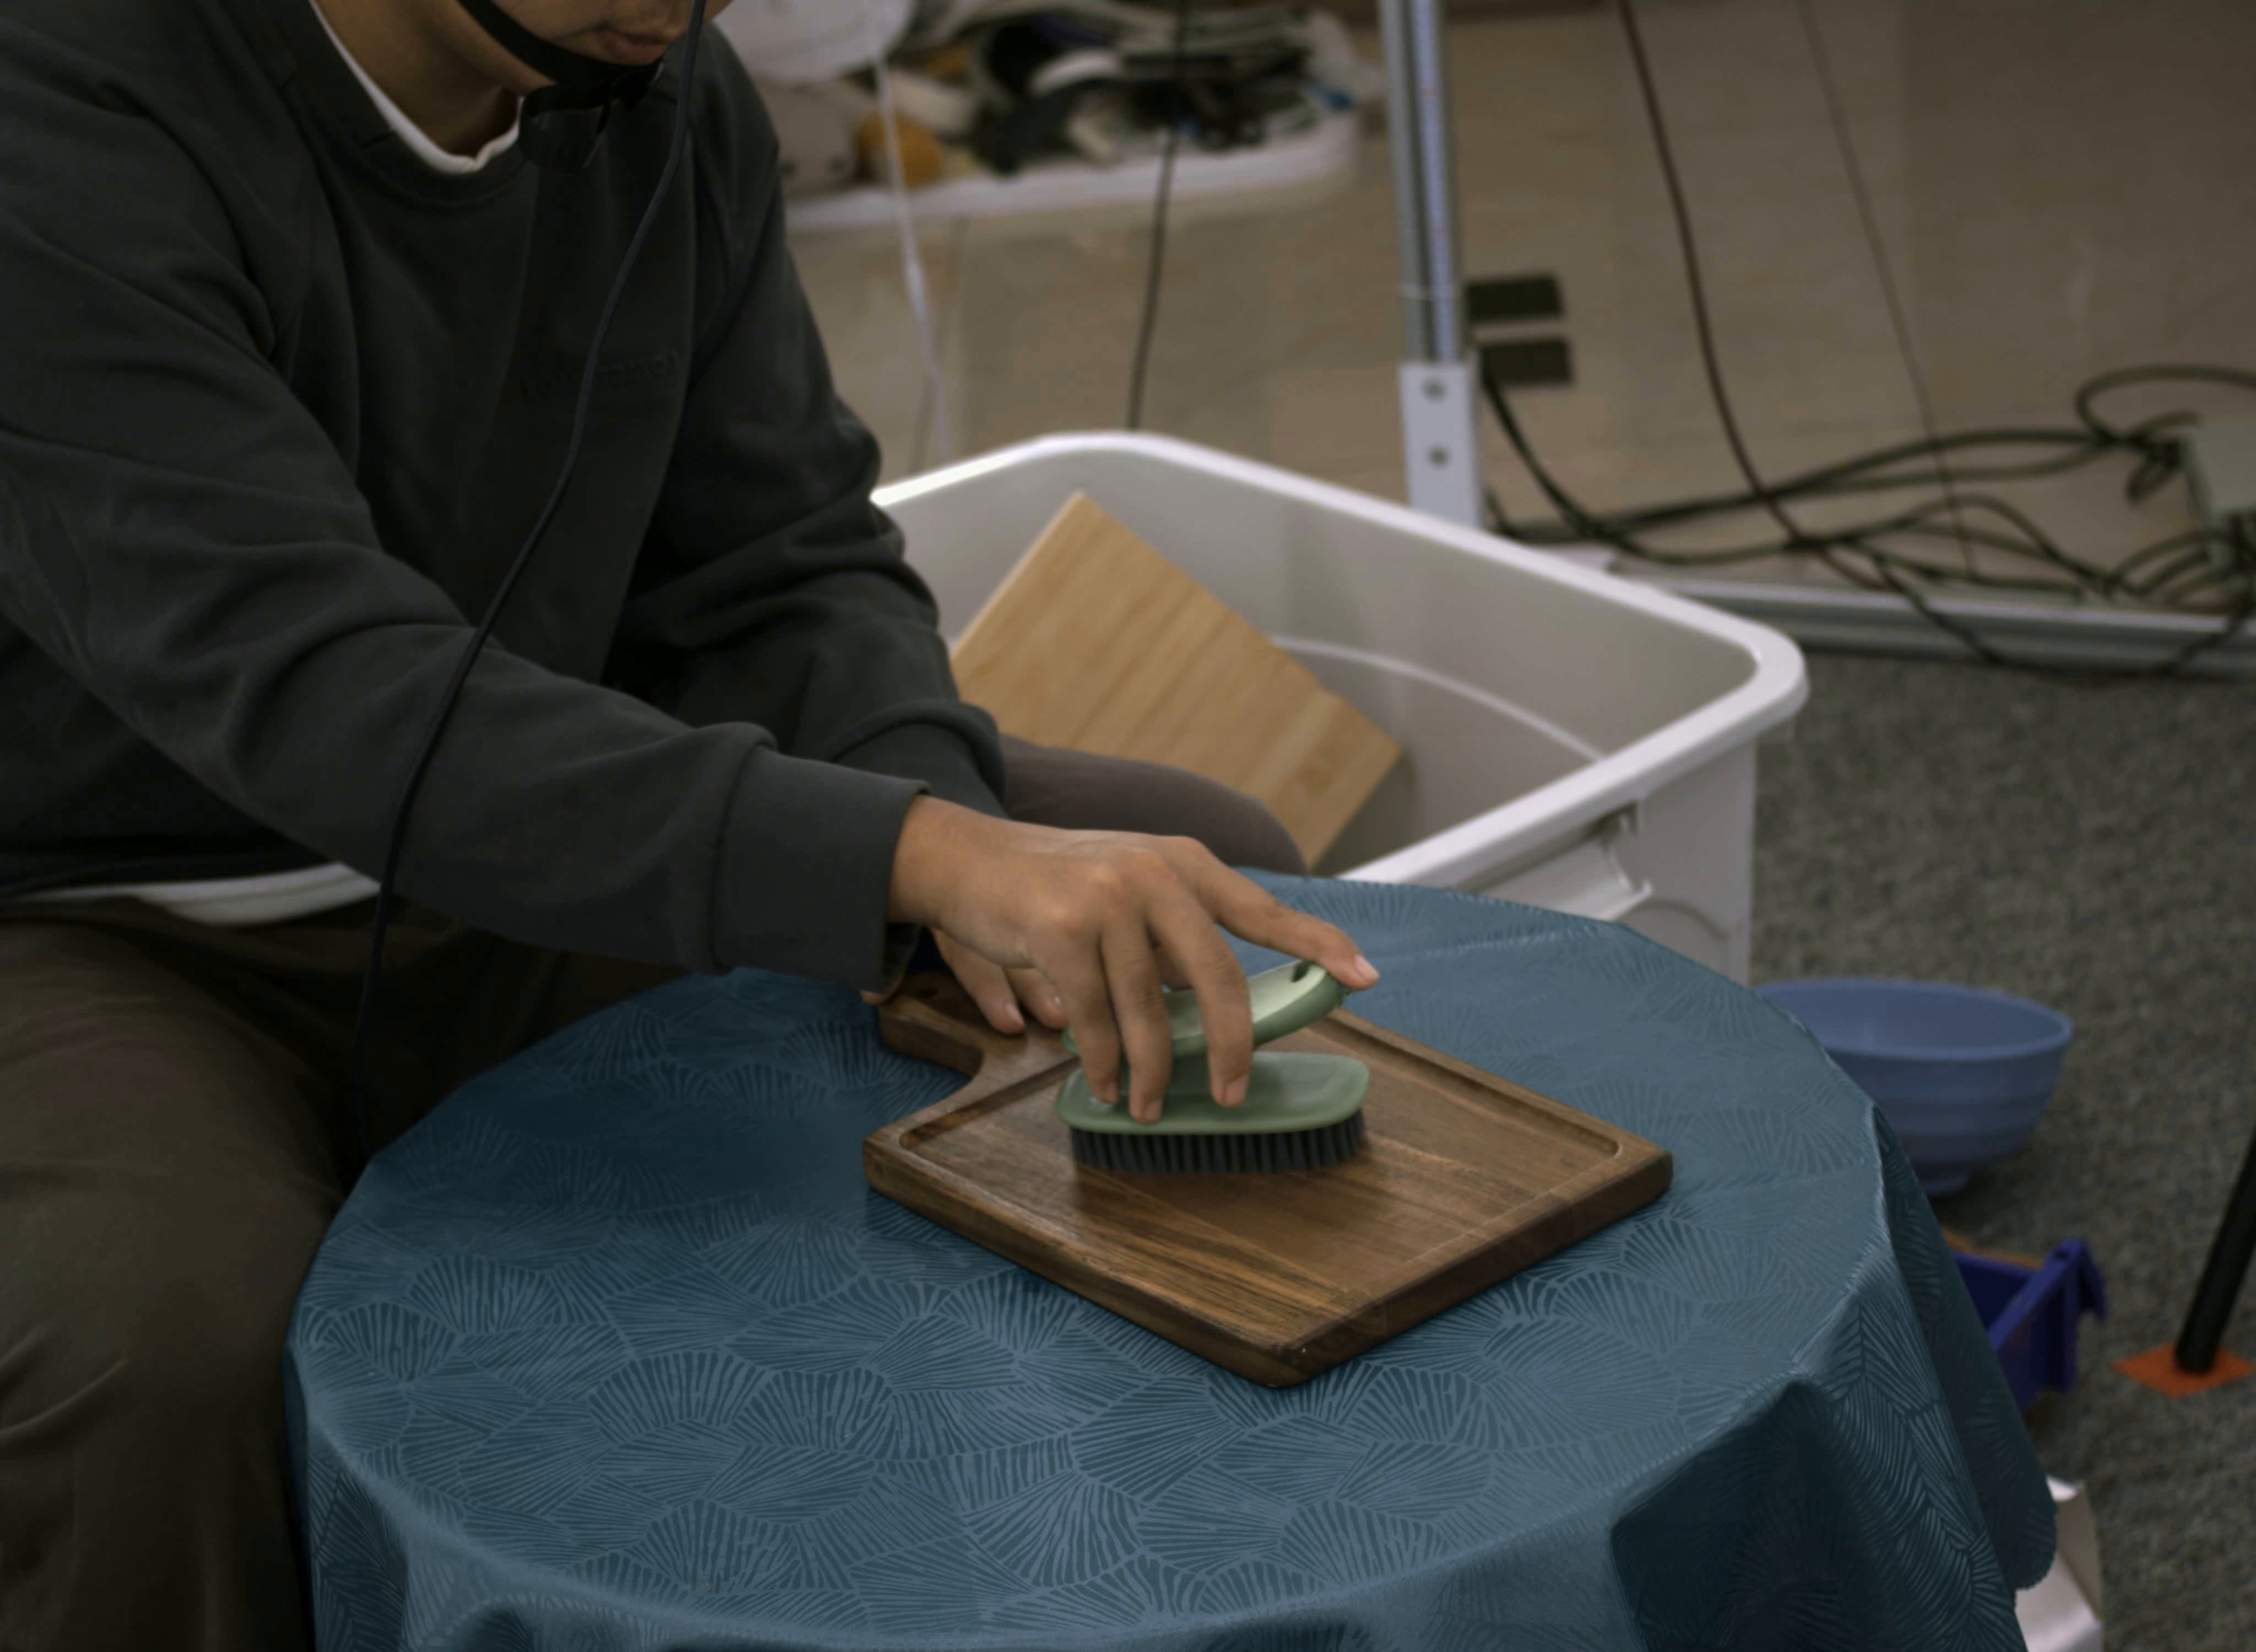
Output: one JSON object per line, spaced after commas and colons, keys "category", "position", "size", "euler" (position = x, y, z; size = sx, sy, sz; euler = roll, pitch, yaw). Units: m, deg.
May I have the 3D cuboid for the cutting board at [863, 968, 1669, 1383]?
{"category": "cutting board", "position": [0.019, 0.114, 2.173], "size": [0.199, 0.023, 0.349], "euler": [-23, 29, -33]}

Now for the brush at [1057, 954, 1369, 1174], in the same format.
{"category": "brush", "position": [0.033, 0.096, 2.137], "size": [0.123, 0.076, 0.059], "euler": [-15, 18, 21]}
